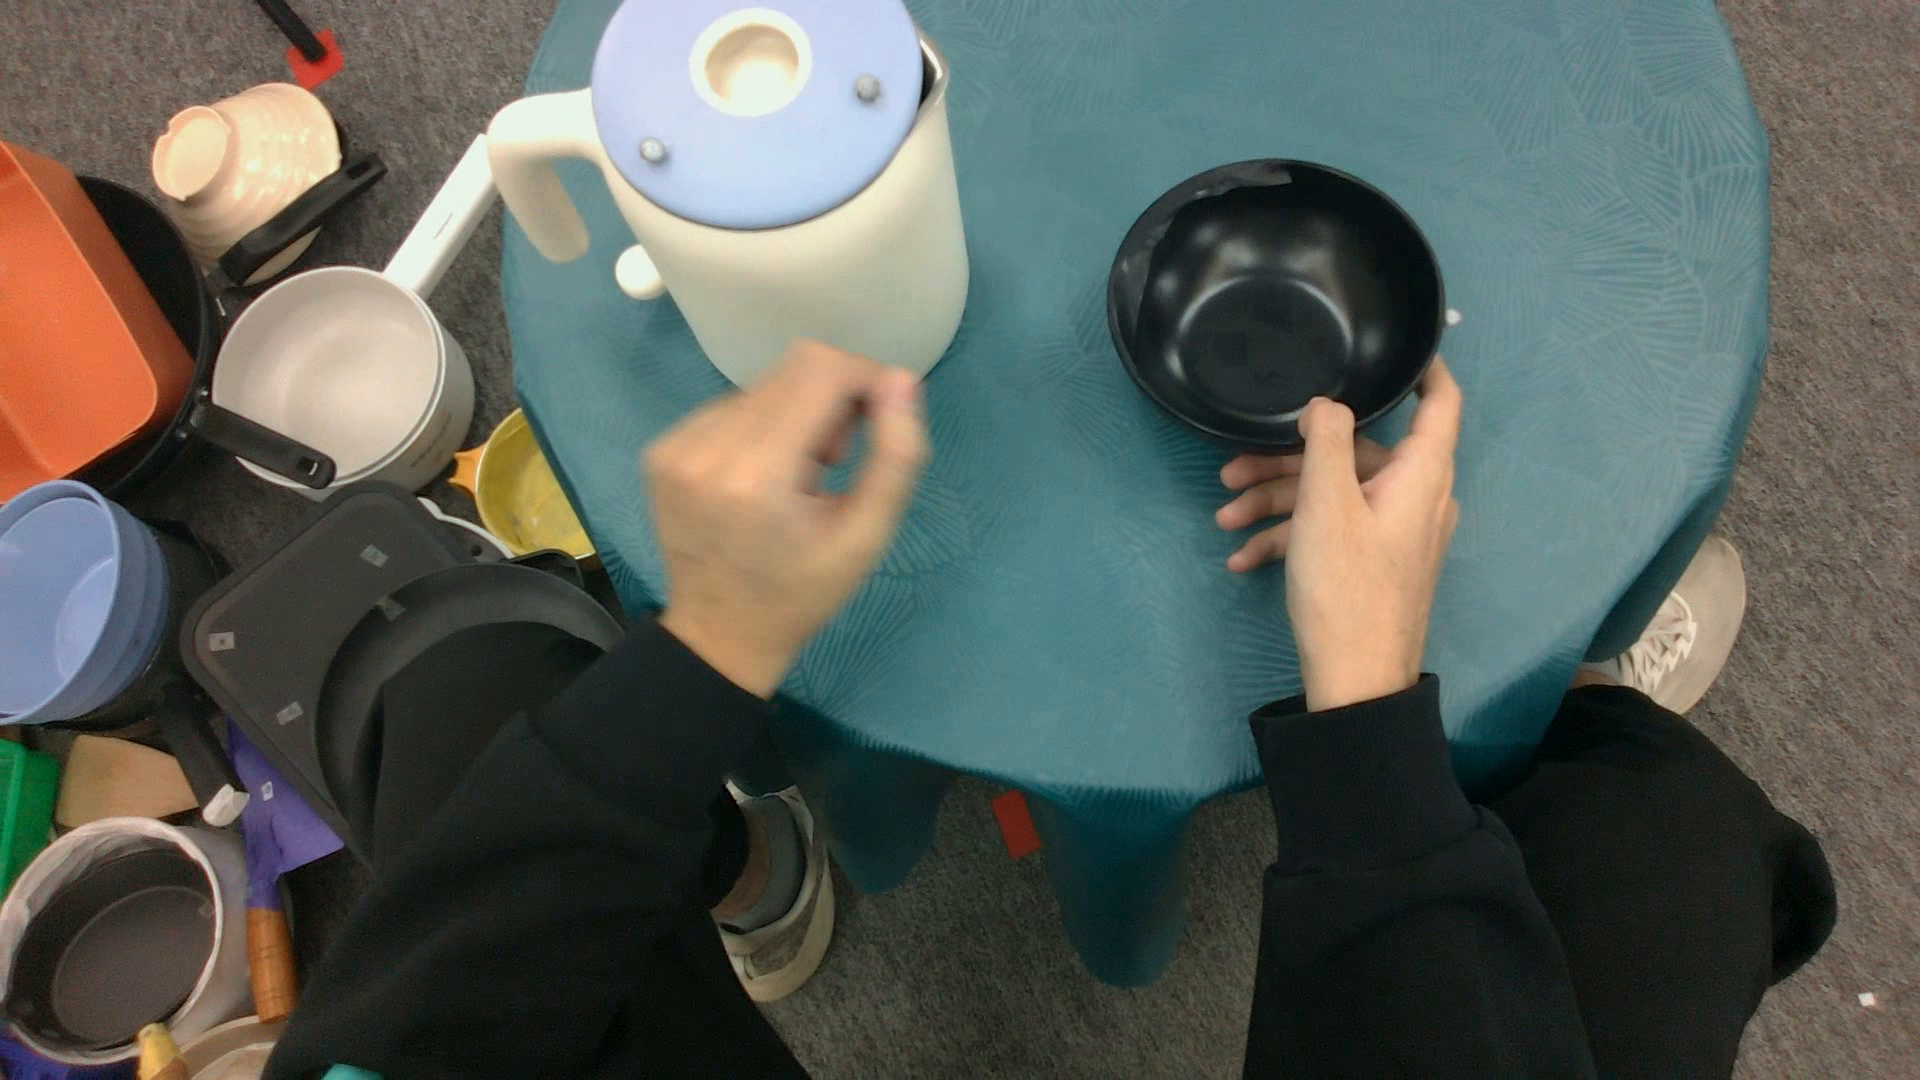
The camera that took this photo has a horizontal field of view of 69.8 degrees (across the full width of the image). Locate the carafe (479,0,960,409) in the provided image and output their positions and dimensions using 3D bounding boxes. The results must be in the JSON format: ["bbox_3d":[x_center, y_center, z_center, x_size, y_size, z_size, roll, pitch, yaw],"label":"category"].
[{"bbox_3d":[-0.095,-0.142,0.570,0.191,0.182,0.132,-4,72,5],"label":"carafe"}]

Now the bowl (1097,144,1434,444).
[{"bbox_3d":[0.129,-0.099,0.597,0.140,0.049,0.140,-2,70,5],"label":"bowl"}]
